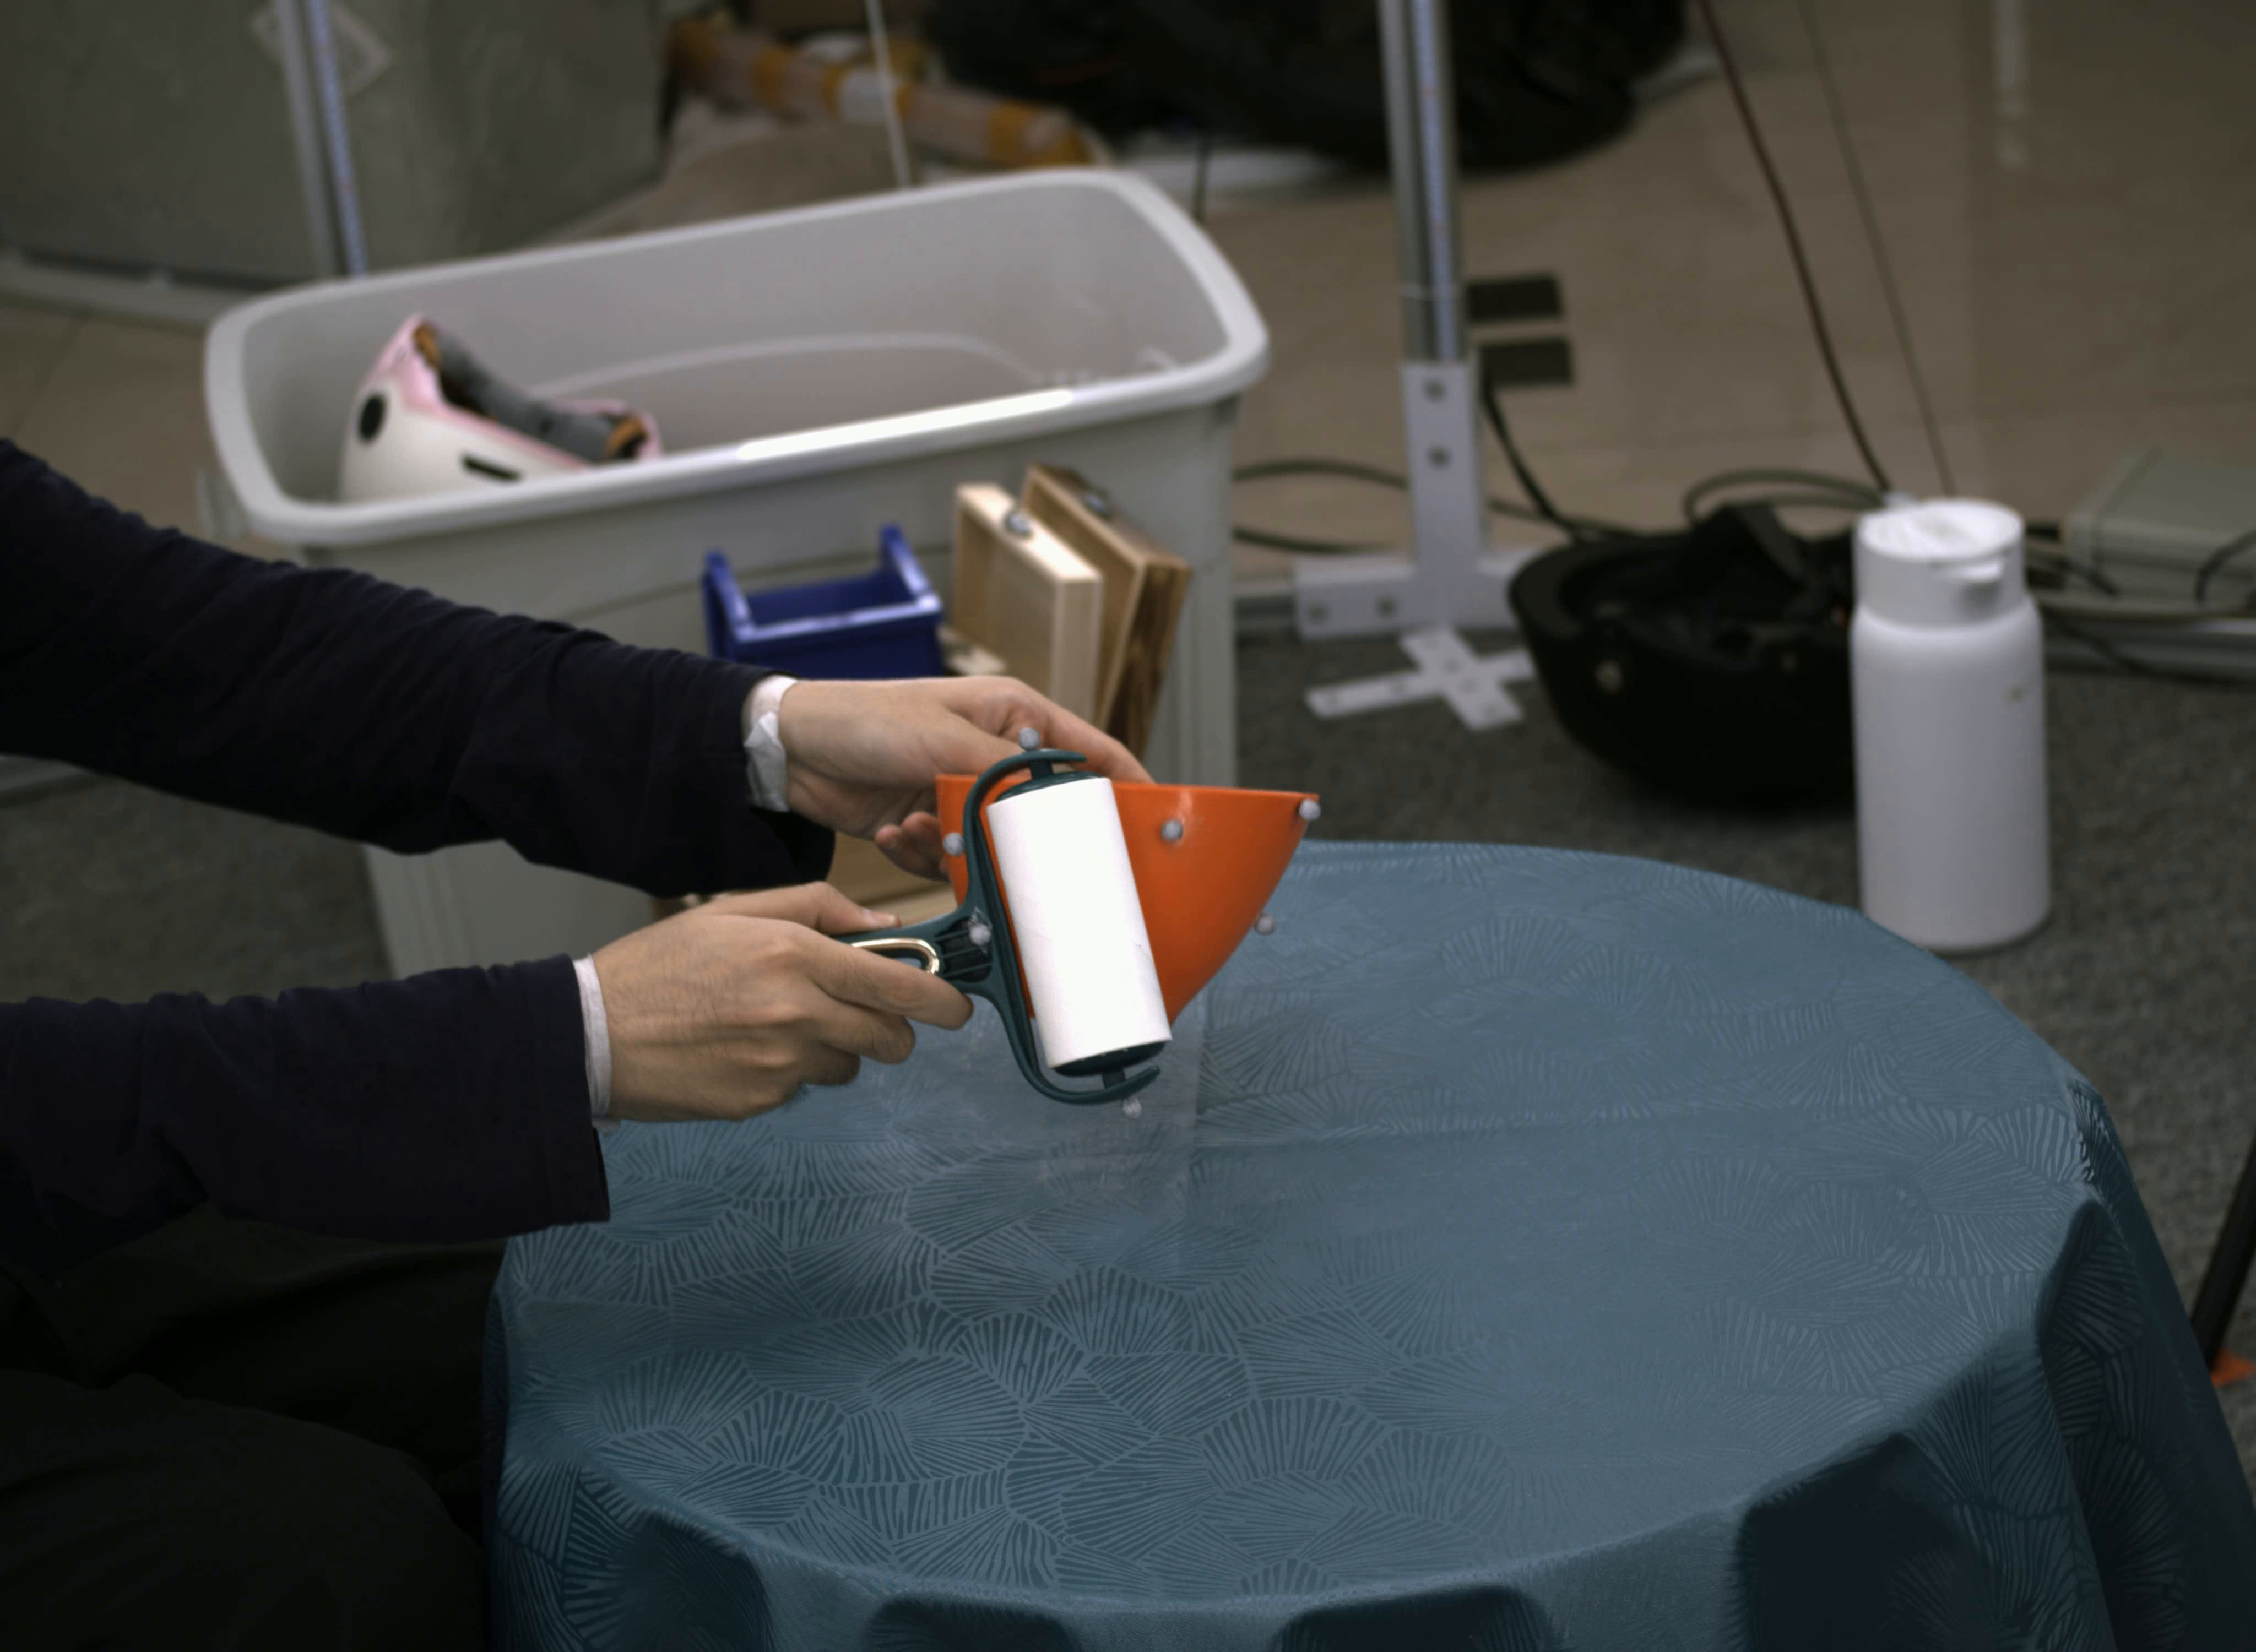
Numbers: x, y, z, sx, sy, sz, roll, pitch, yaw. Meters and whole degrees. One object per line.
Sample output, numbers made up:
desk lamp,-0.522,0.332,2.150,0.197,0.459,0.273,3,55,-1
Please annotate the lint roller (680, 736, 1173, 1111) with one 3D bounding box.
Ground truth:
lint roller,-0.082,0.054,2.081,0.180,0.134,0.048,-14,-5,5

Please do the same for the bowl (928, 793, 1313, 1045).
bowl,-0.007,0.030,2.166,0.148,0.104,0.149,5,-8,1
